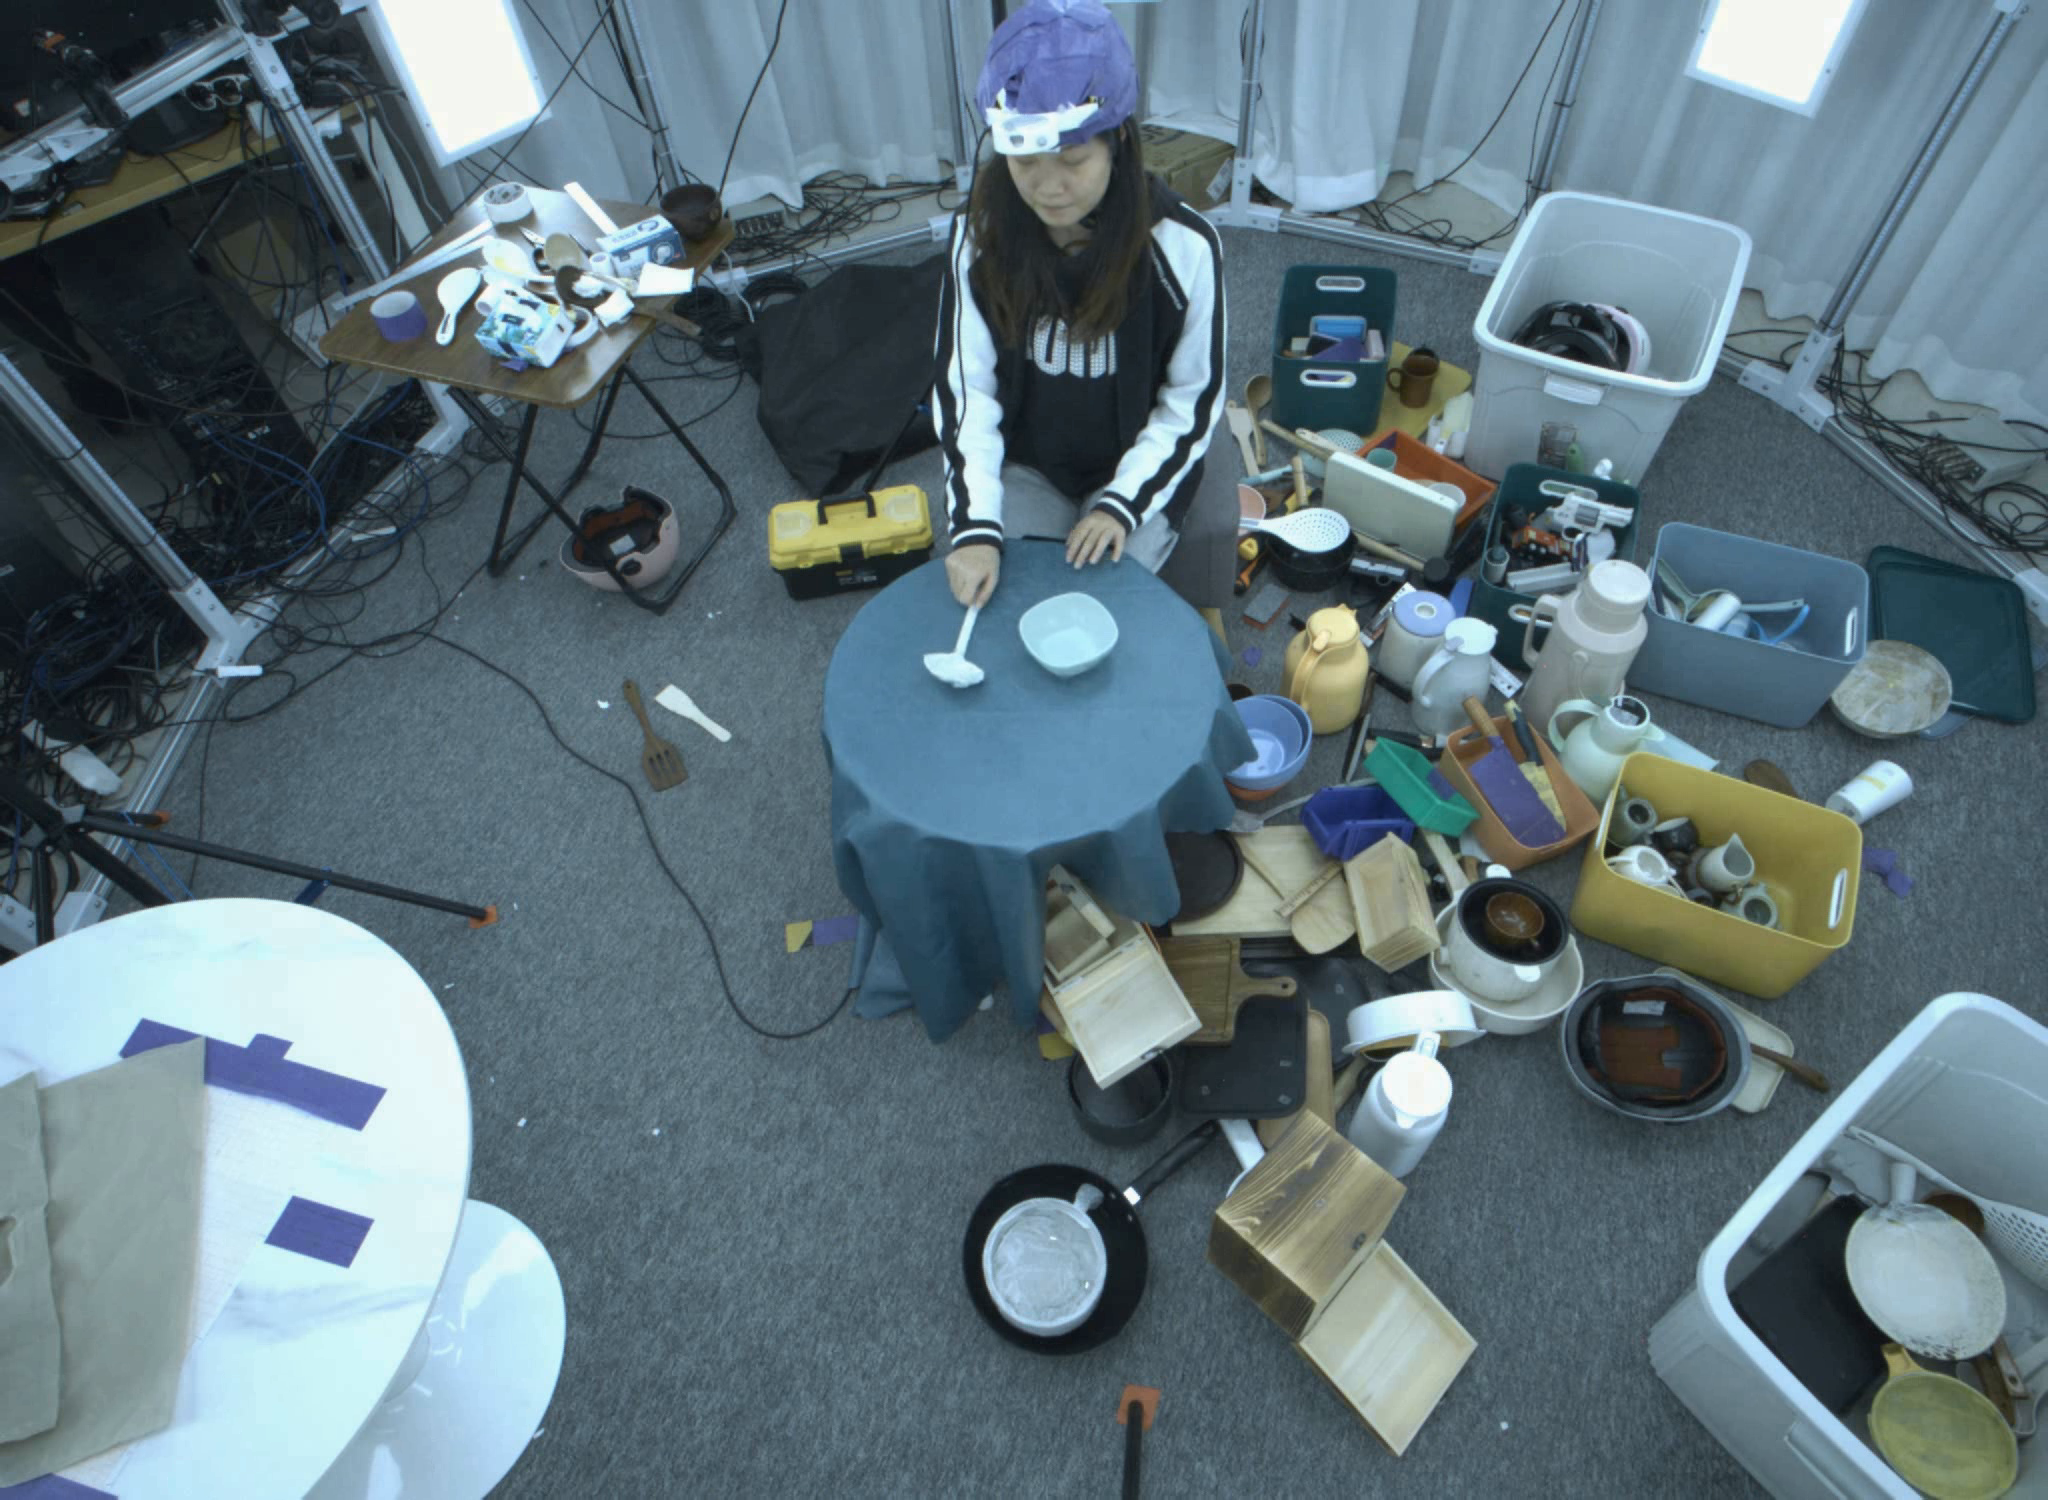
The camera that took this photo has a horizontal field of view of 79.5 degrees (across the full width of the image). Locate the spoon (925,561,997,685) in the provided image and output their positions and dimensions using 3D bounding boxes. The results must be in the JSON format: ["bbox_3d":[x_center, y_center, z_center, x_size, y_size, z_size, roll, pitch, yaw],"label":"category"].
[{"bbox_3d":[-0.076,-0.203,1.896,0.101,0.059,0.276,23,59,-8],"label":"spoon"}]

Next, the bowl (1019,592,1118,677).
[{"bbox_3d":[0.068,-0.166,1.871,0.151,0.059,0.150,0,55,2],"label":"bowl"}]
